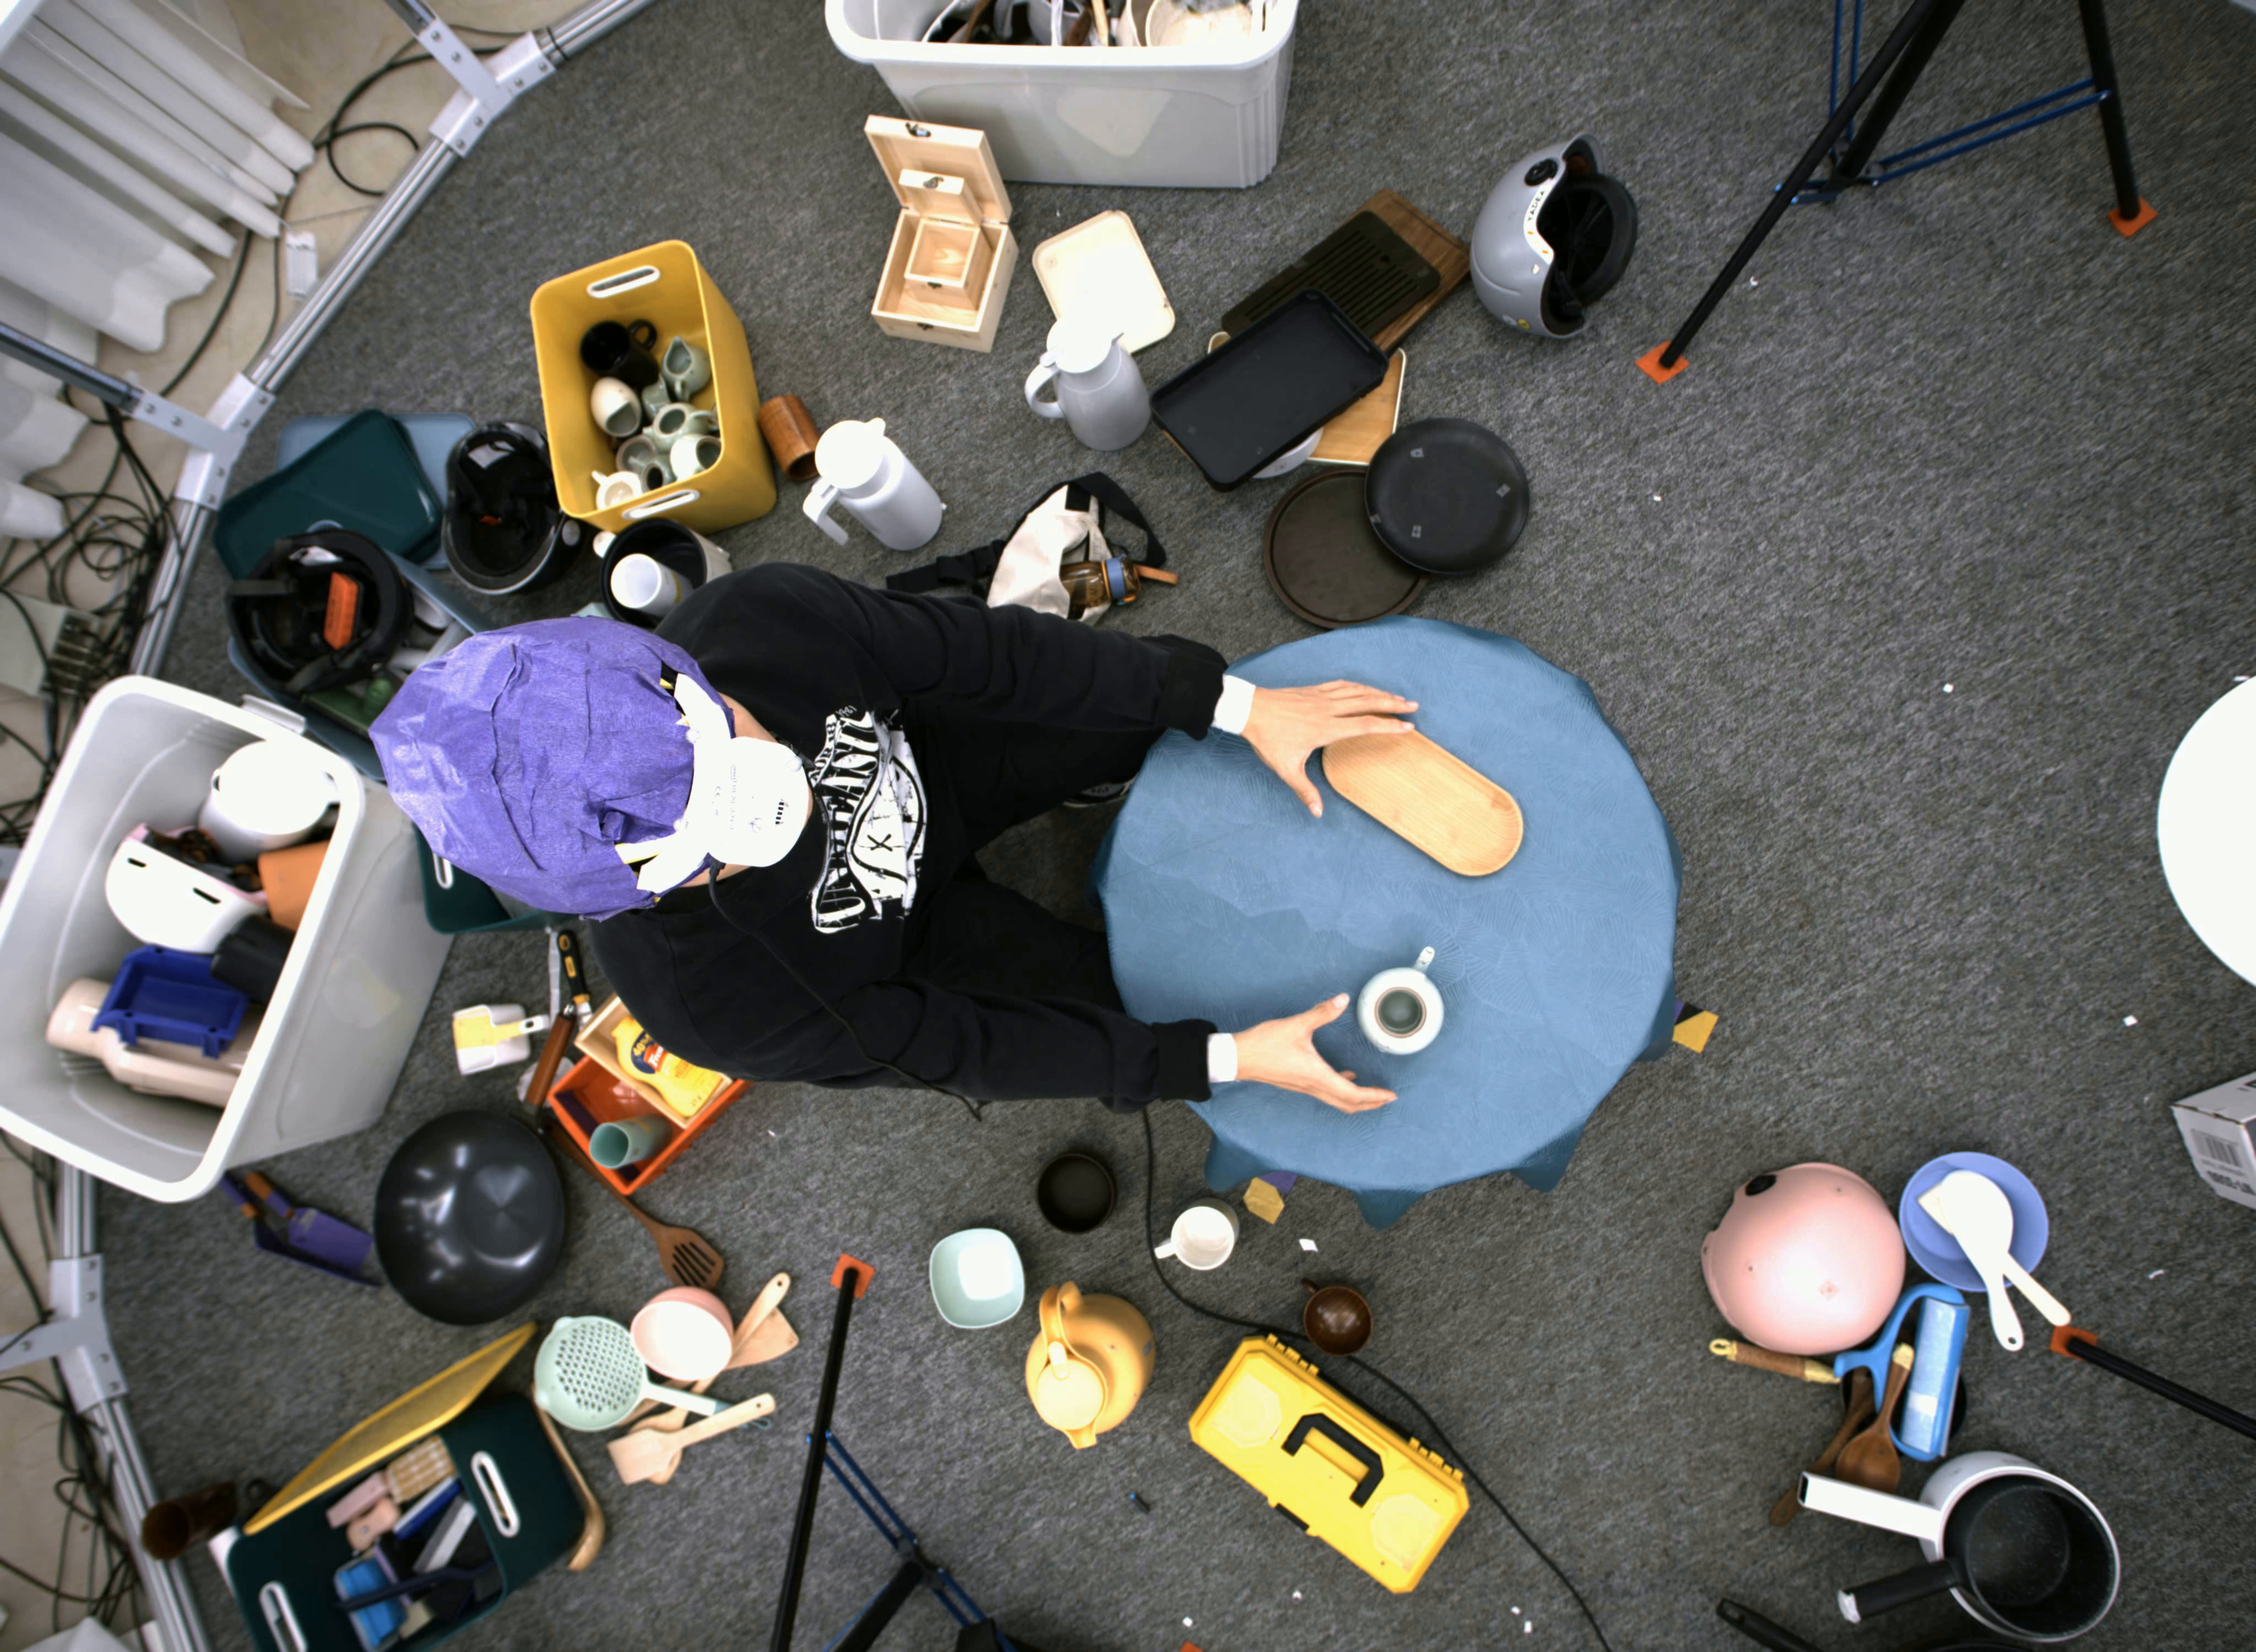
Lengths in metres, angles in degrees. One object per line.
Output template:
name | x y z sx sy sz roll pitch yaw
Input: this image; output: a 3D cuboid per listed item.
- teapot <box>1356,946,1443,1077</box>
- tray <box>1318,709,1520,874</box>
teapot | 0.278 0.188 1.417 0.088 0.075 0.144 27 90 11
tray | 0.306 -0.038 1.452 0.230 0.020 0.102 35 93 12
